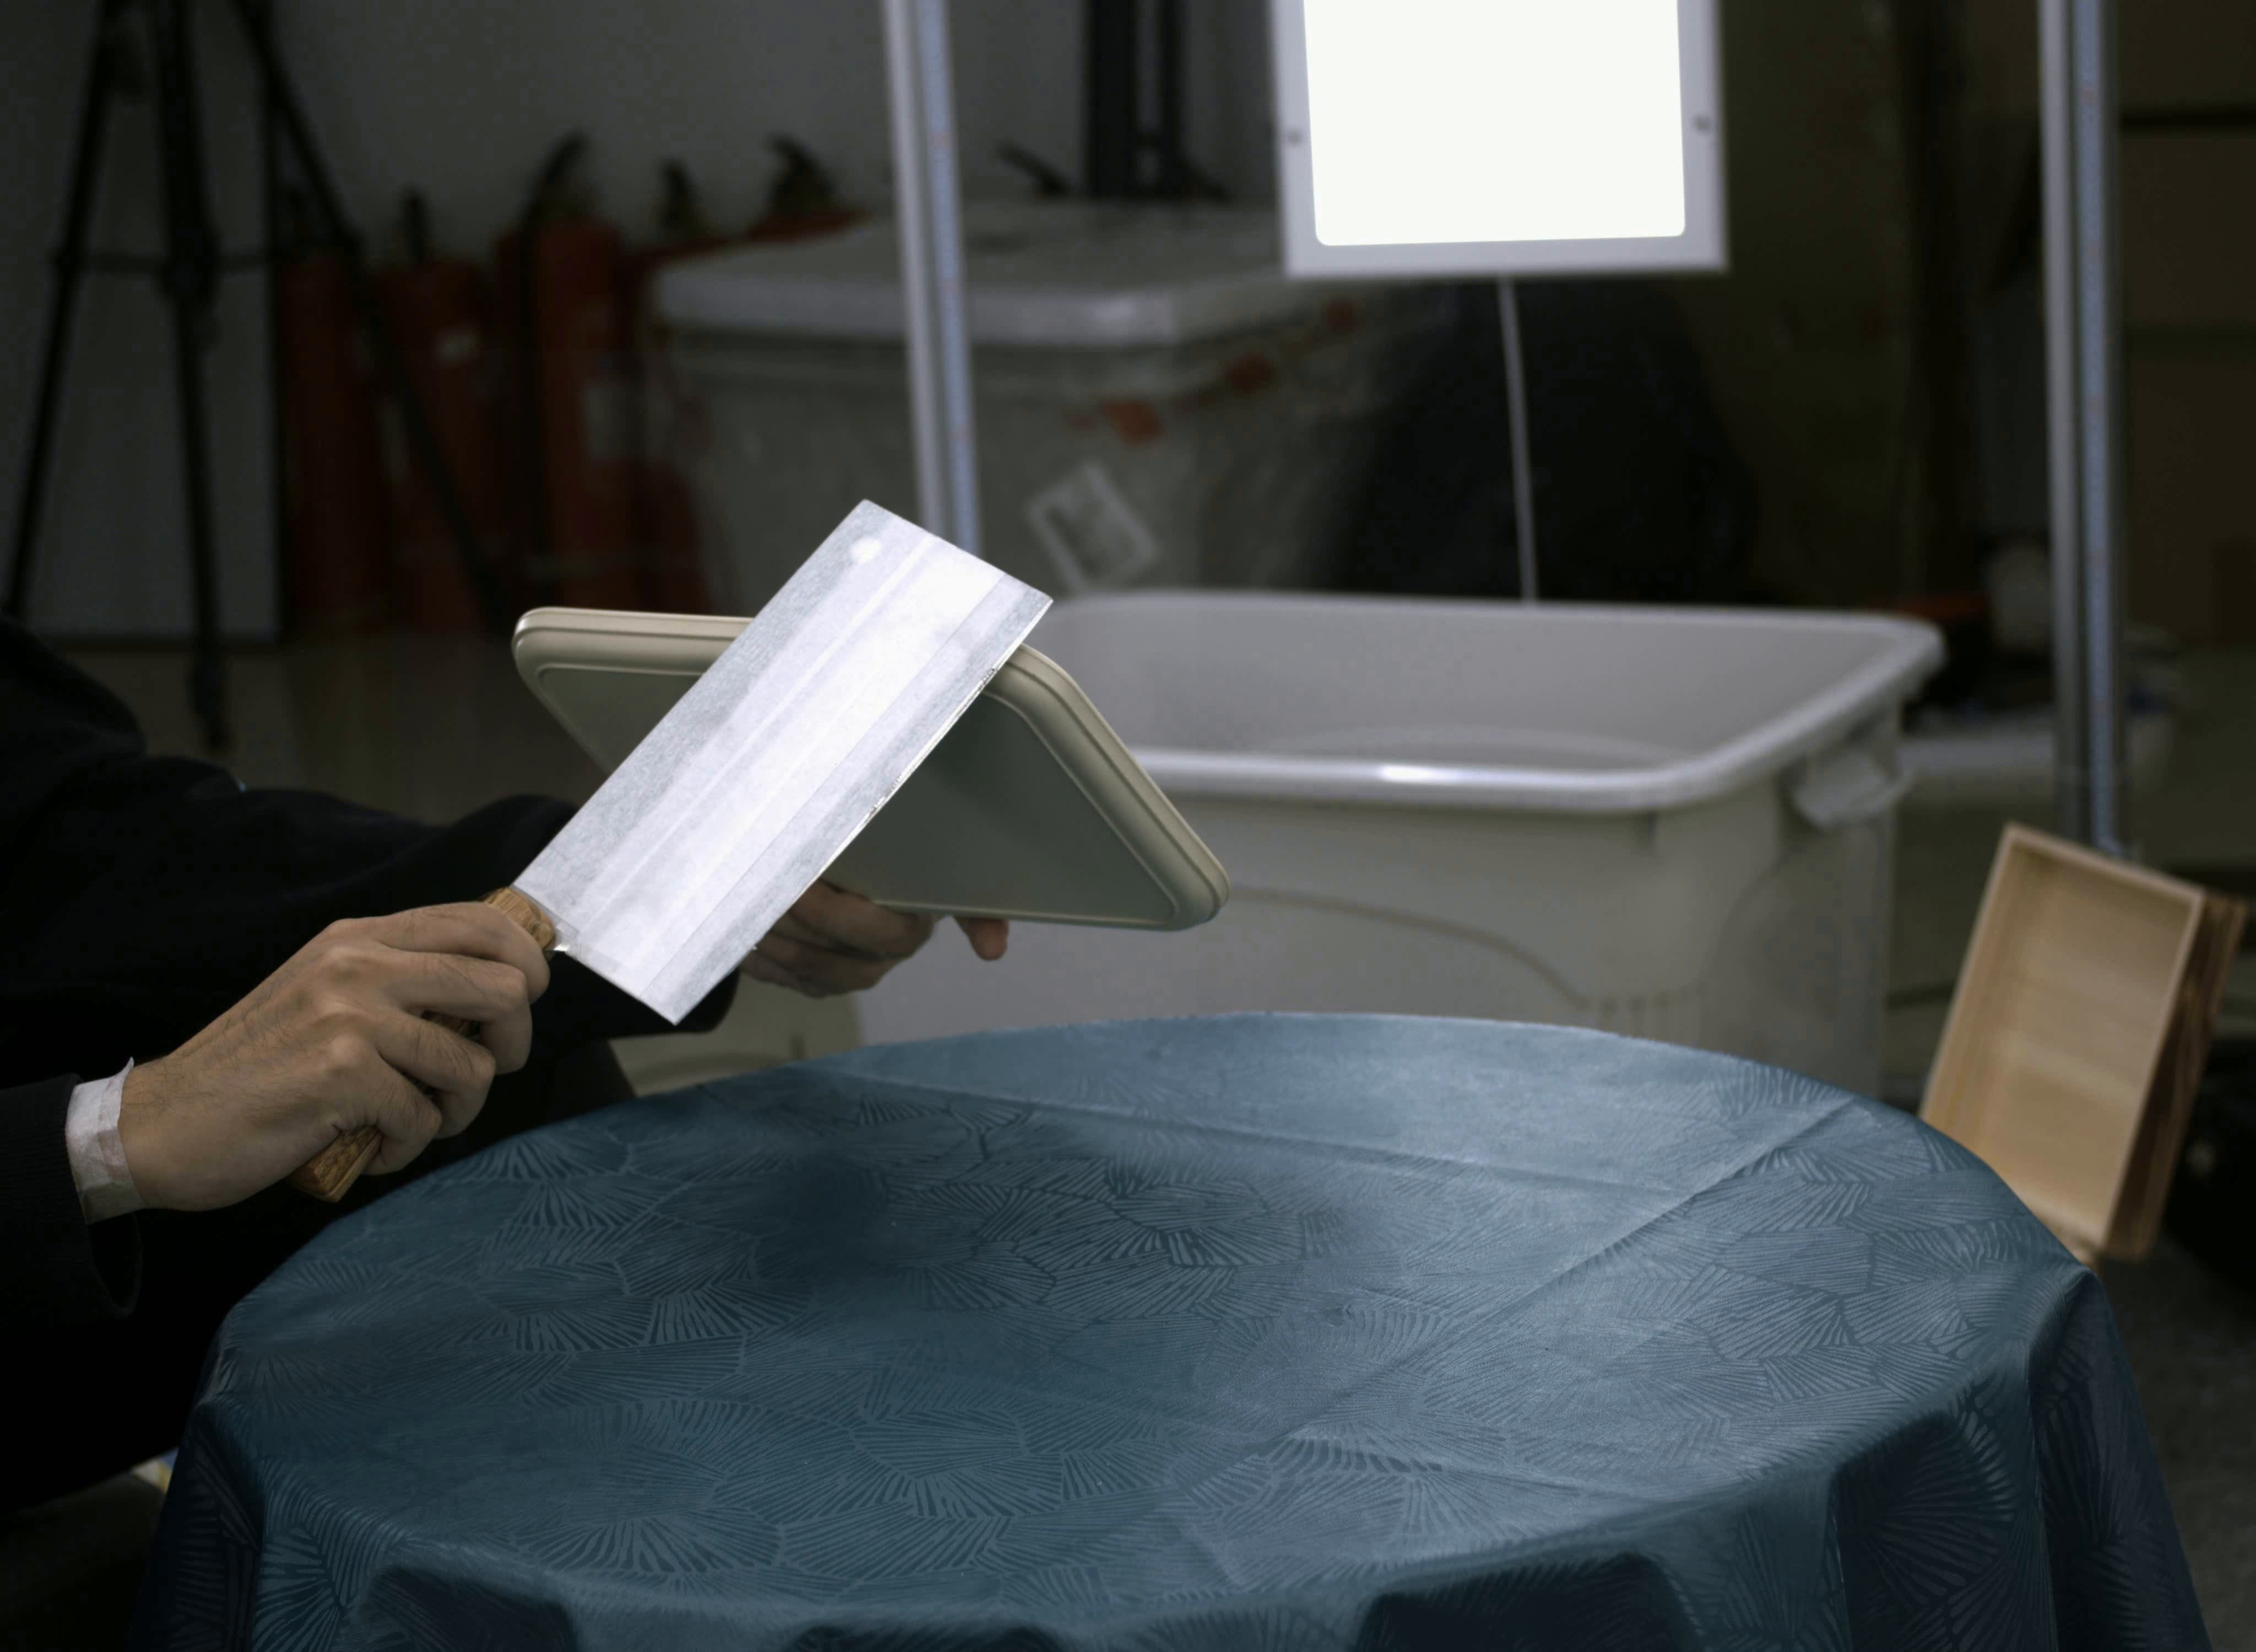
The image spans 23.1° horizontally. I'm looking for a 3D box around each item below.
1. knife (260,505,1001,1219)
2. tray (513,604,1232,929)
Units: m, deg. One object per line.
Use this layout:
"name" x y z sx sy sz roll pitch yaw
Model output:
"knife" -0.152 0.017 1.771 0.094 0.021 0.303 30 72 34
"tray" -0.091 -0.018 1.900 0.245 0.169 0.017 4 57 37
